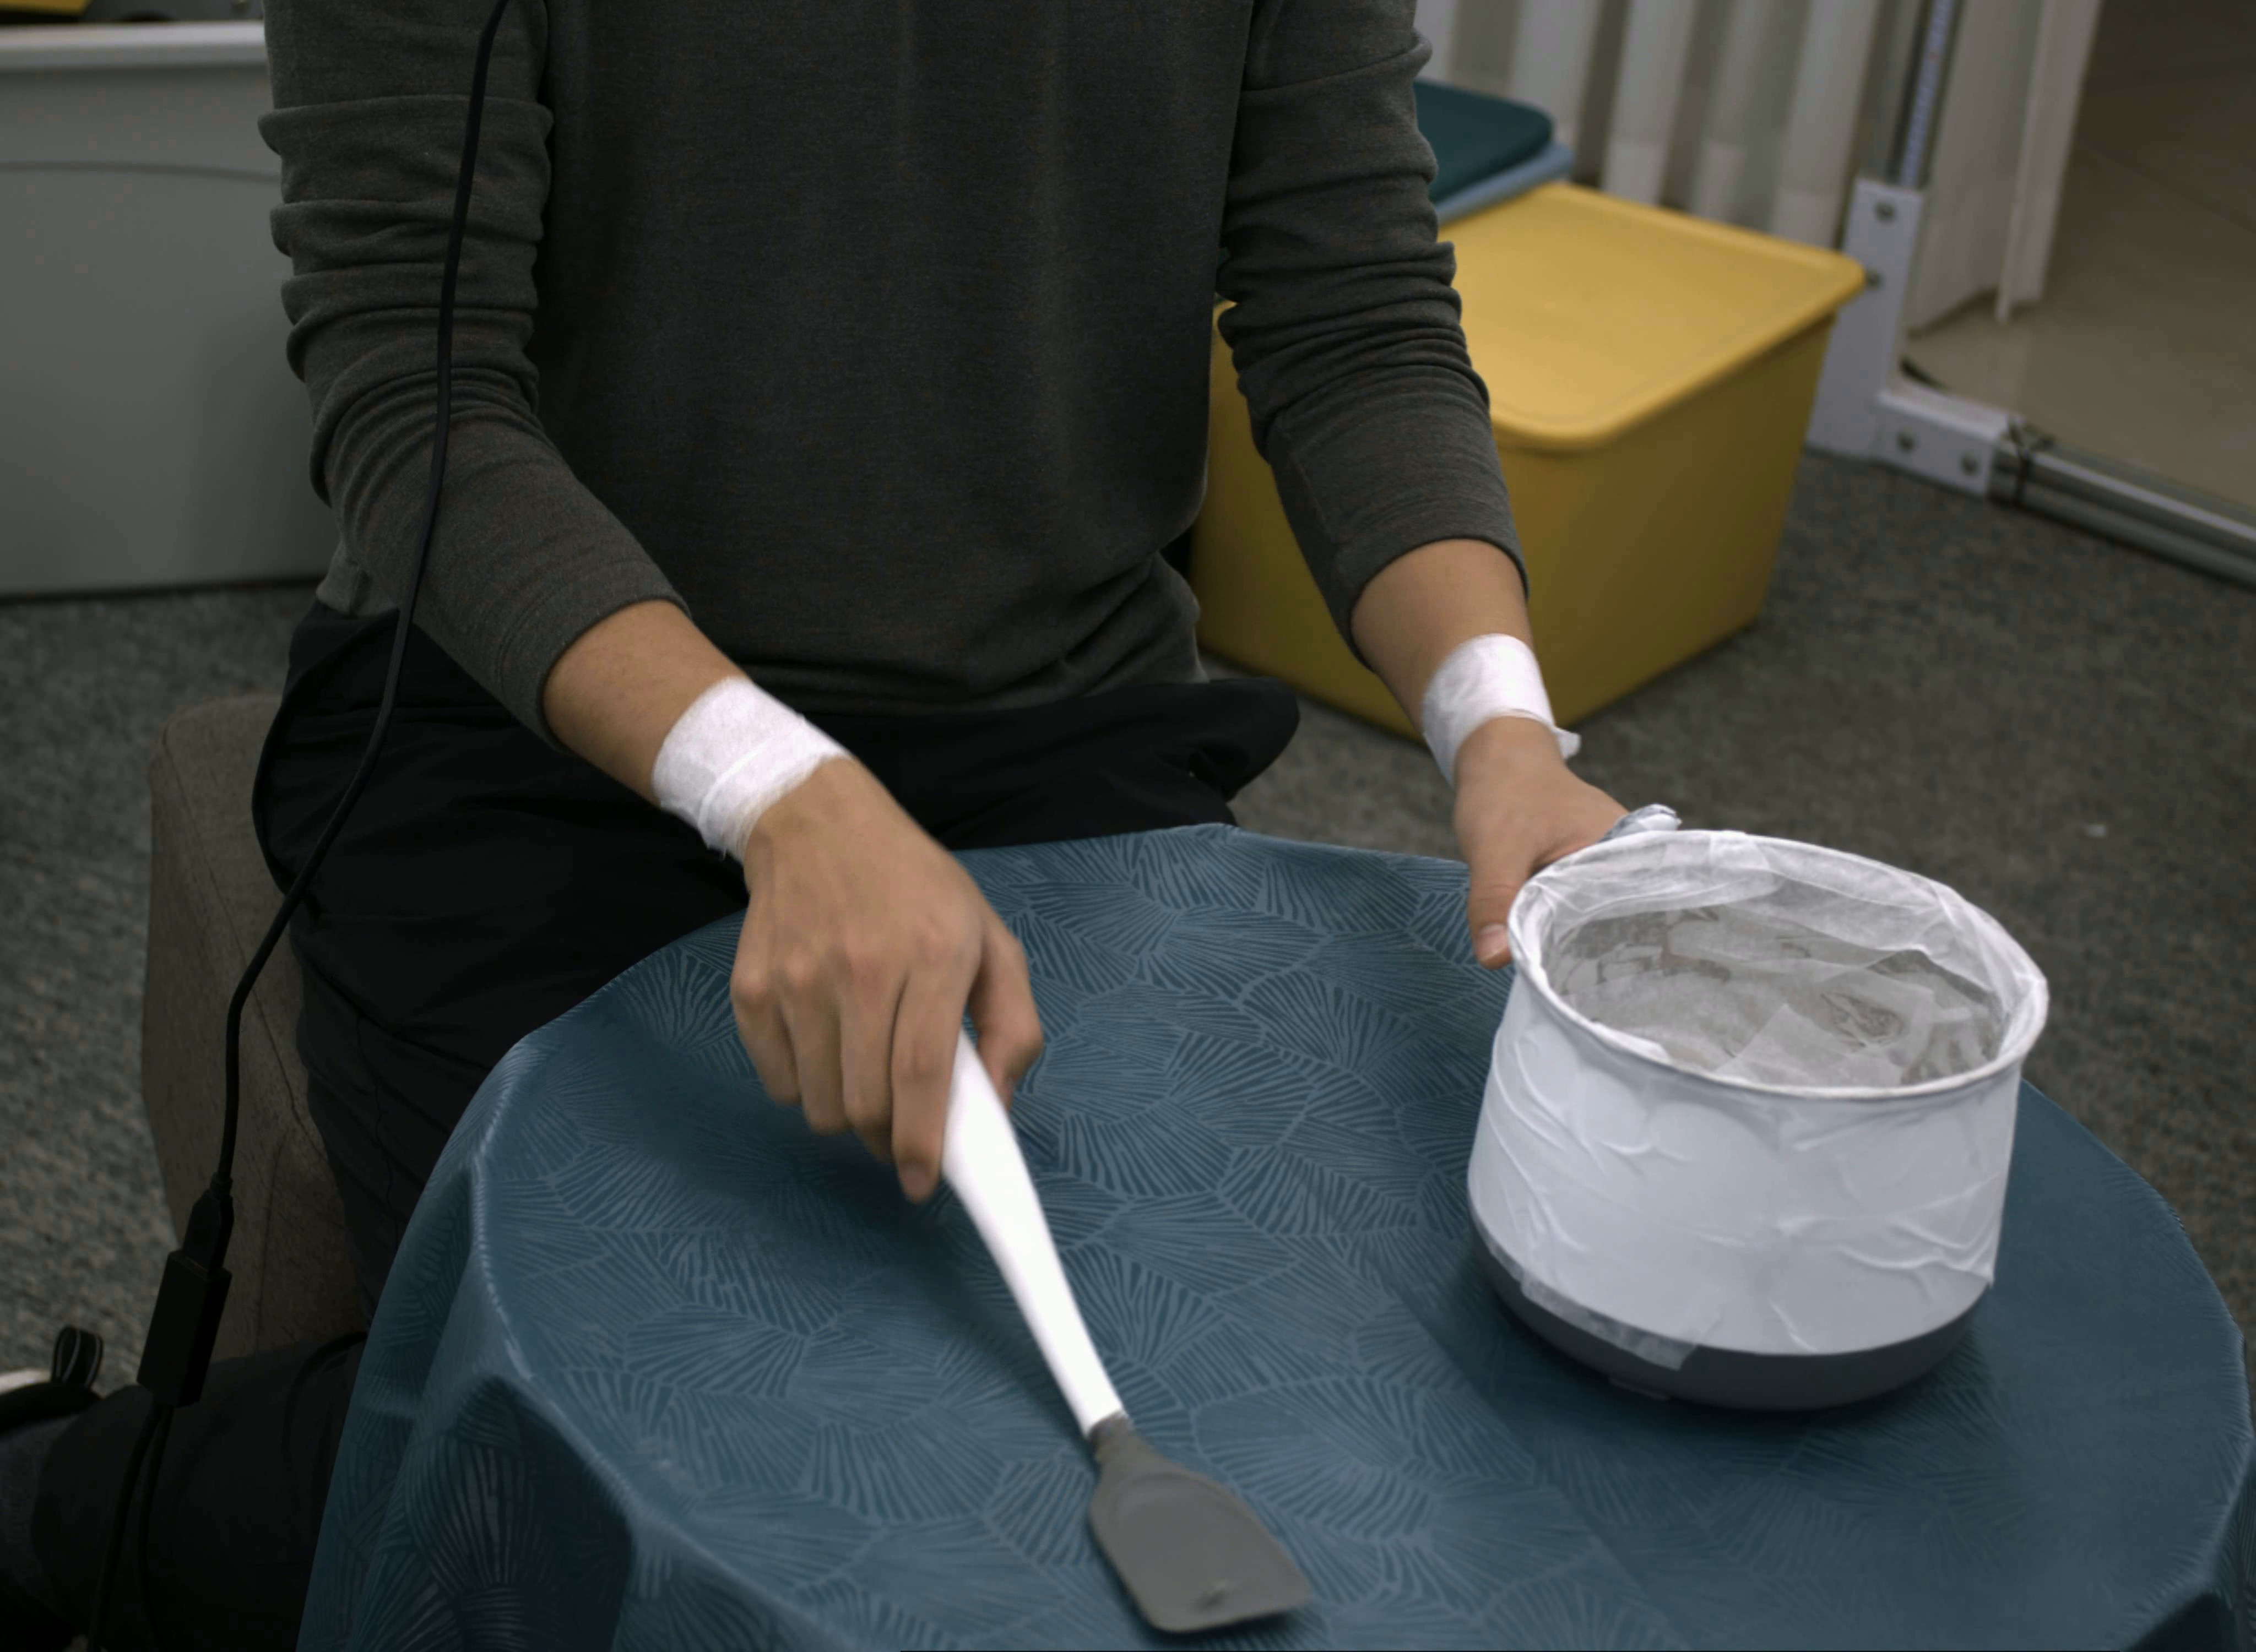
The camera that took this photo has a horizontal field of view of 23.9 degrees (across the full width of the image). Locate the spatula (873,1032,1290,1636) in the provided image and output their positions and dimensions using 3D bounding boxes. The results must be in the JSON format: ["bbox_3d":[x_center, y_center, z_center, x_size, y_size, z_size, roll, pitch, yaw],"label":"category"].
[{"bbox_3d":[-0.023,0.161,1.679,0.058,0.032,0.290,-8,36,-19],"label":"spatula"}]

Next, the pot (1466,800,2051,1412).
[{"bbox_3d":[0.195,0.086,1.773,0.177,0.136,0.236,-3,28,-20],"label":"pot"}]
